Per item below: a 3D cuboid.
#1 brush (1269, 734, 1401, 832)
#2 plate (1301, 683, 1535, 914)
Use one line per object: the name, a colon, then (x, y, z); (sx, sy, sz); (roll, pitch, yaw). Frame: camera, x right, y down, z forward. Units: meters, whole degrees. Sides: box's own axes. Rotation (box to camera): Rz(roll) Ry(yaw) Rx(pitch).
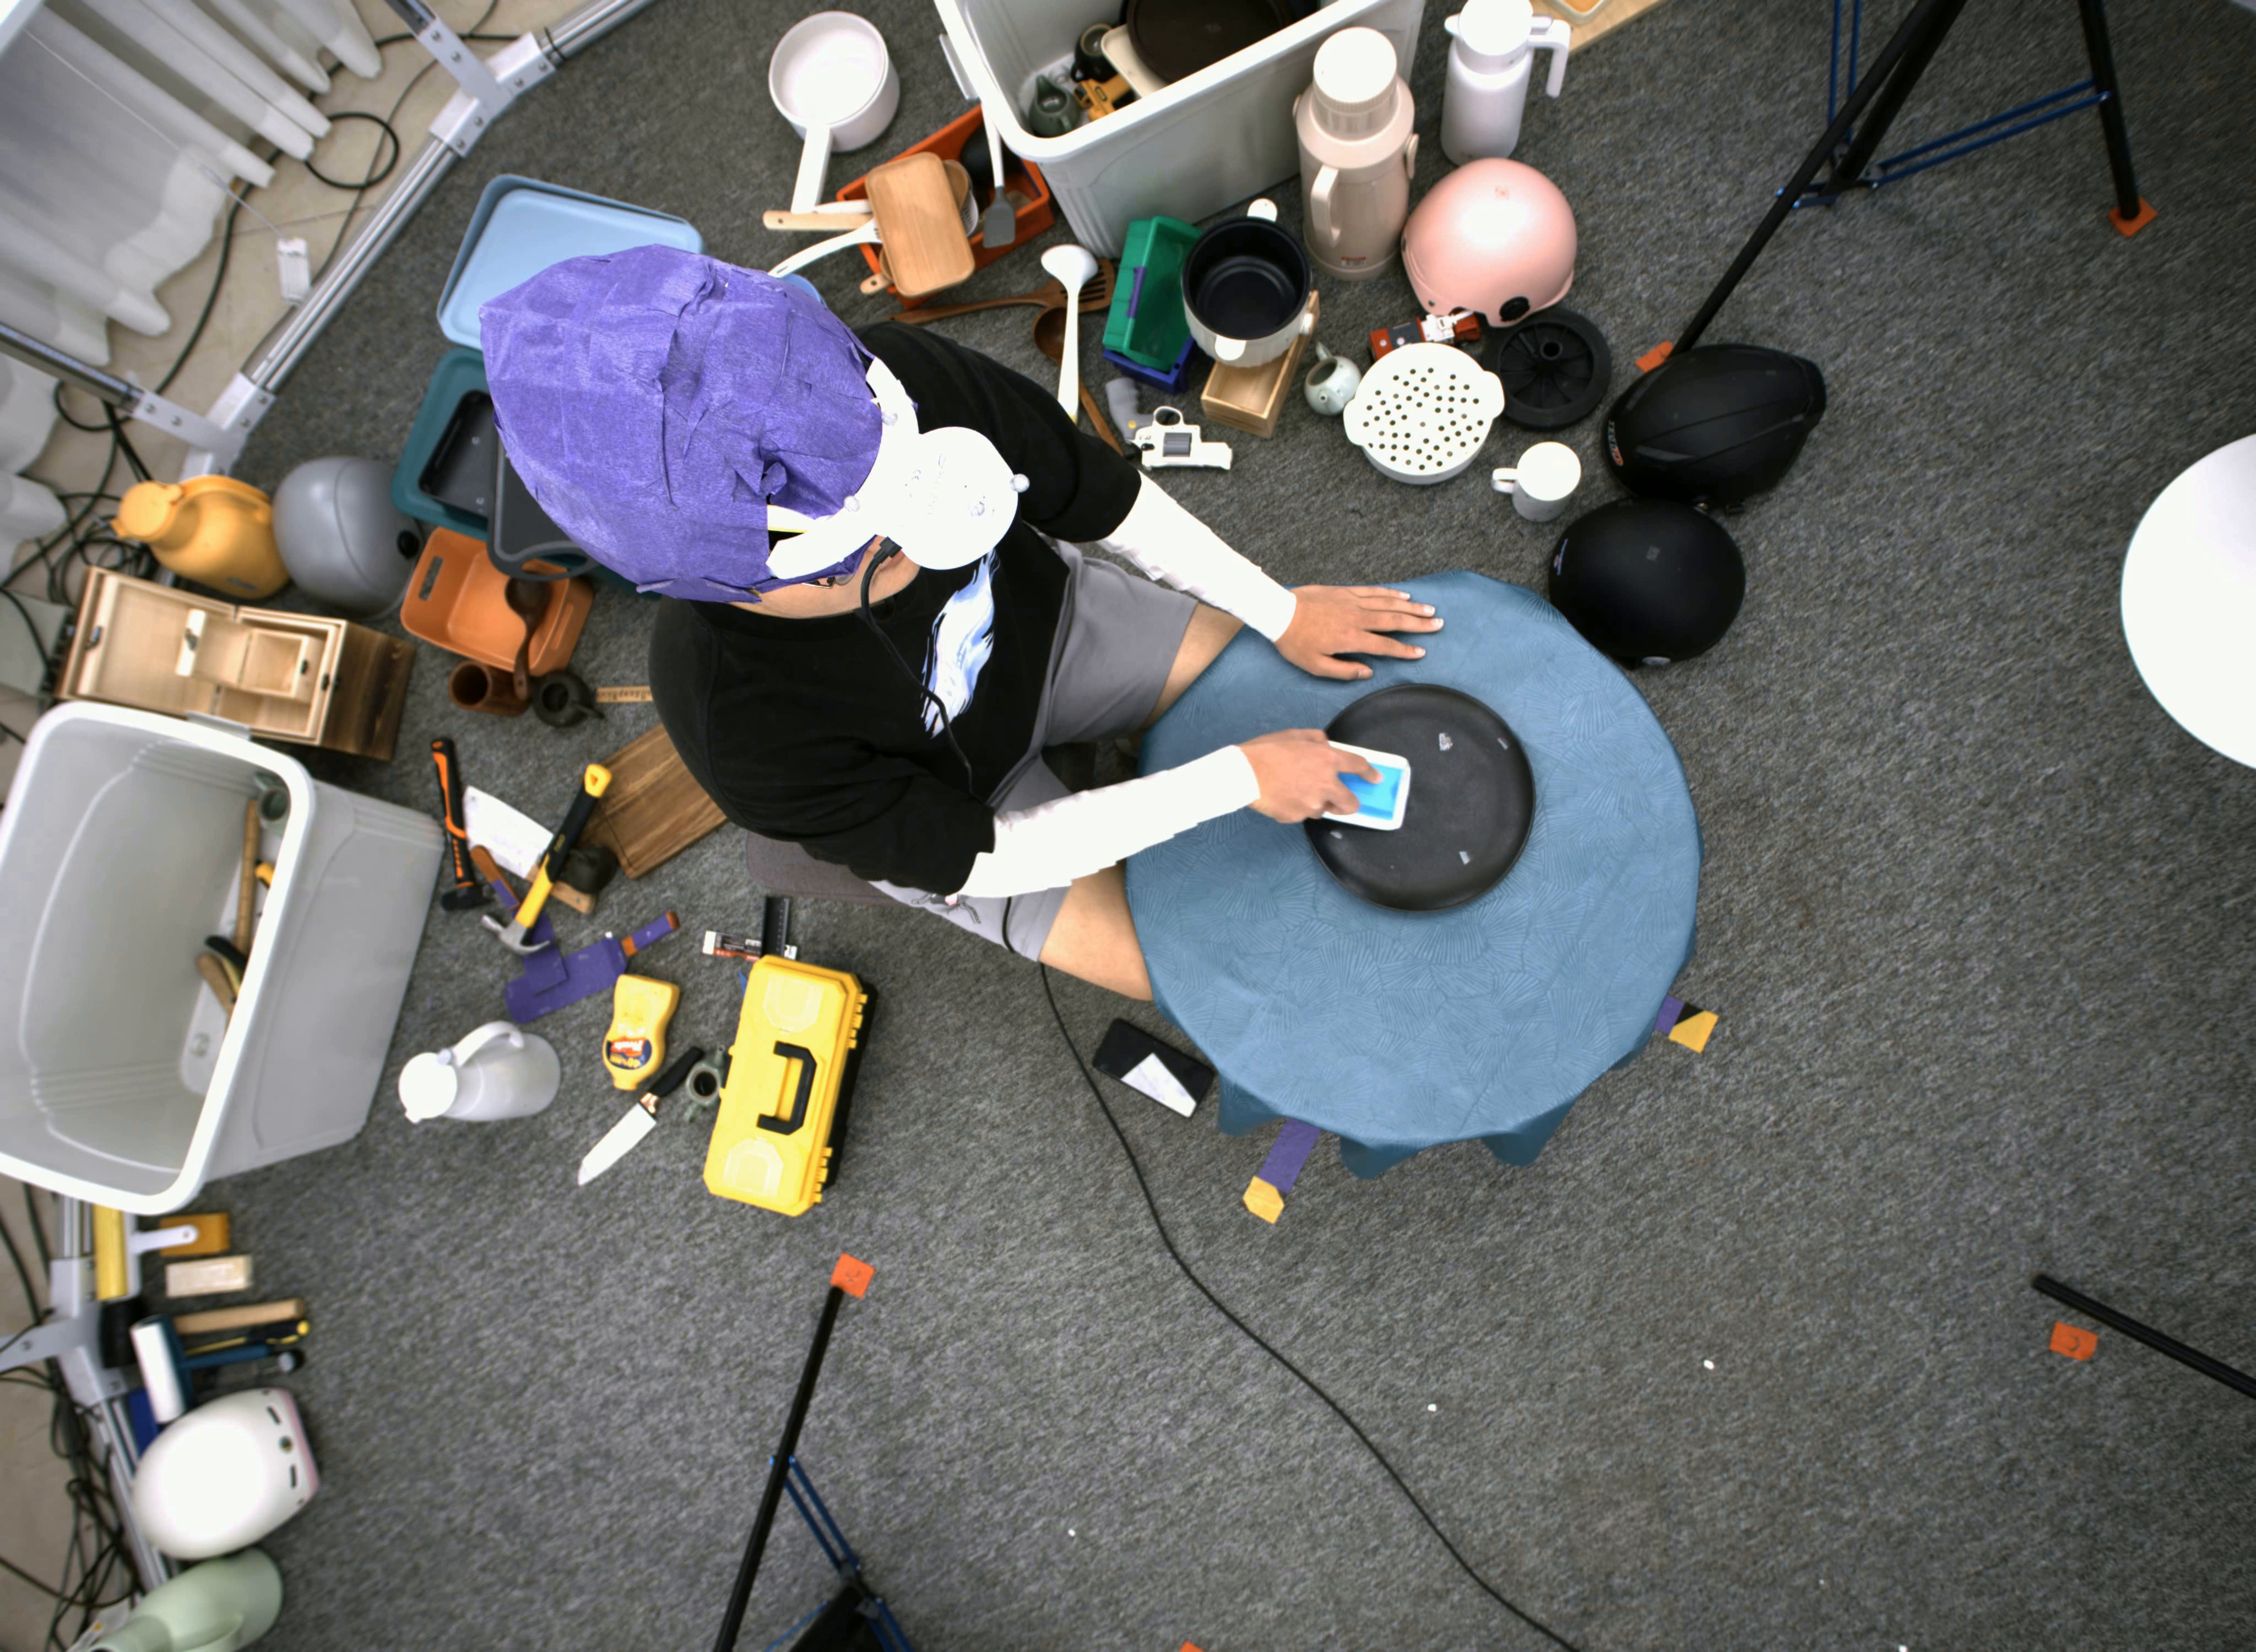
brush: (0.219, -0.047, 1.414); (0.144, 0.056, 0.083); (12, 82, -13)
plate: (0.302, -0.030, 1.446); (0.245, 0.023, 0.243); (-1, 87, 11)
